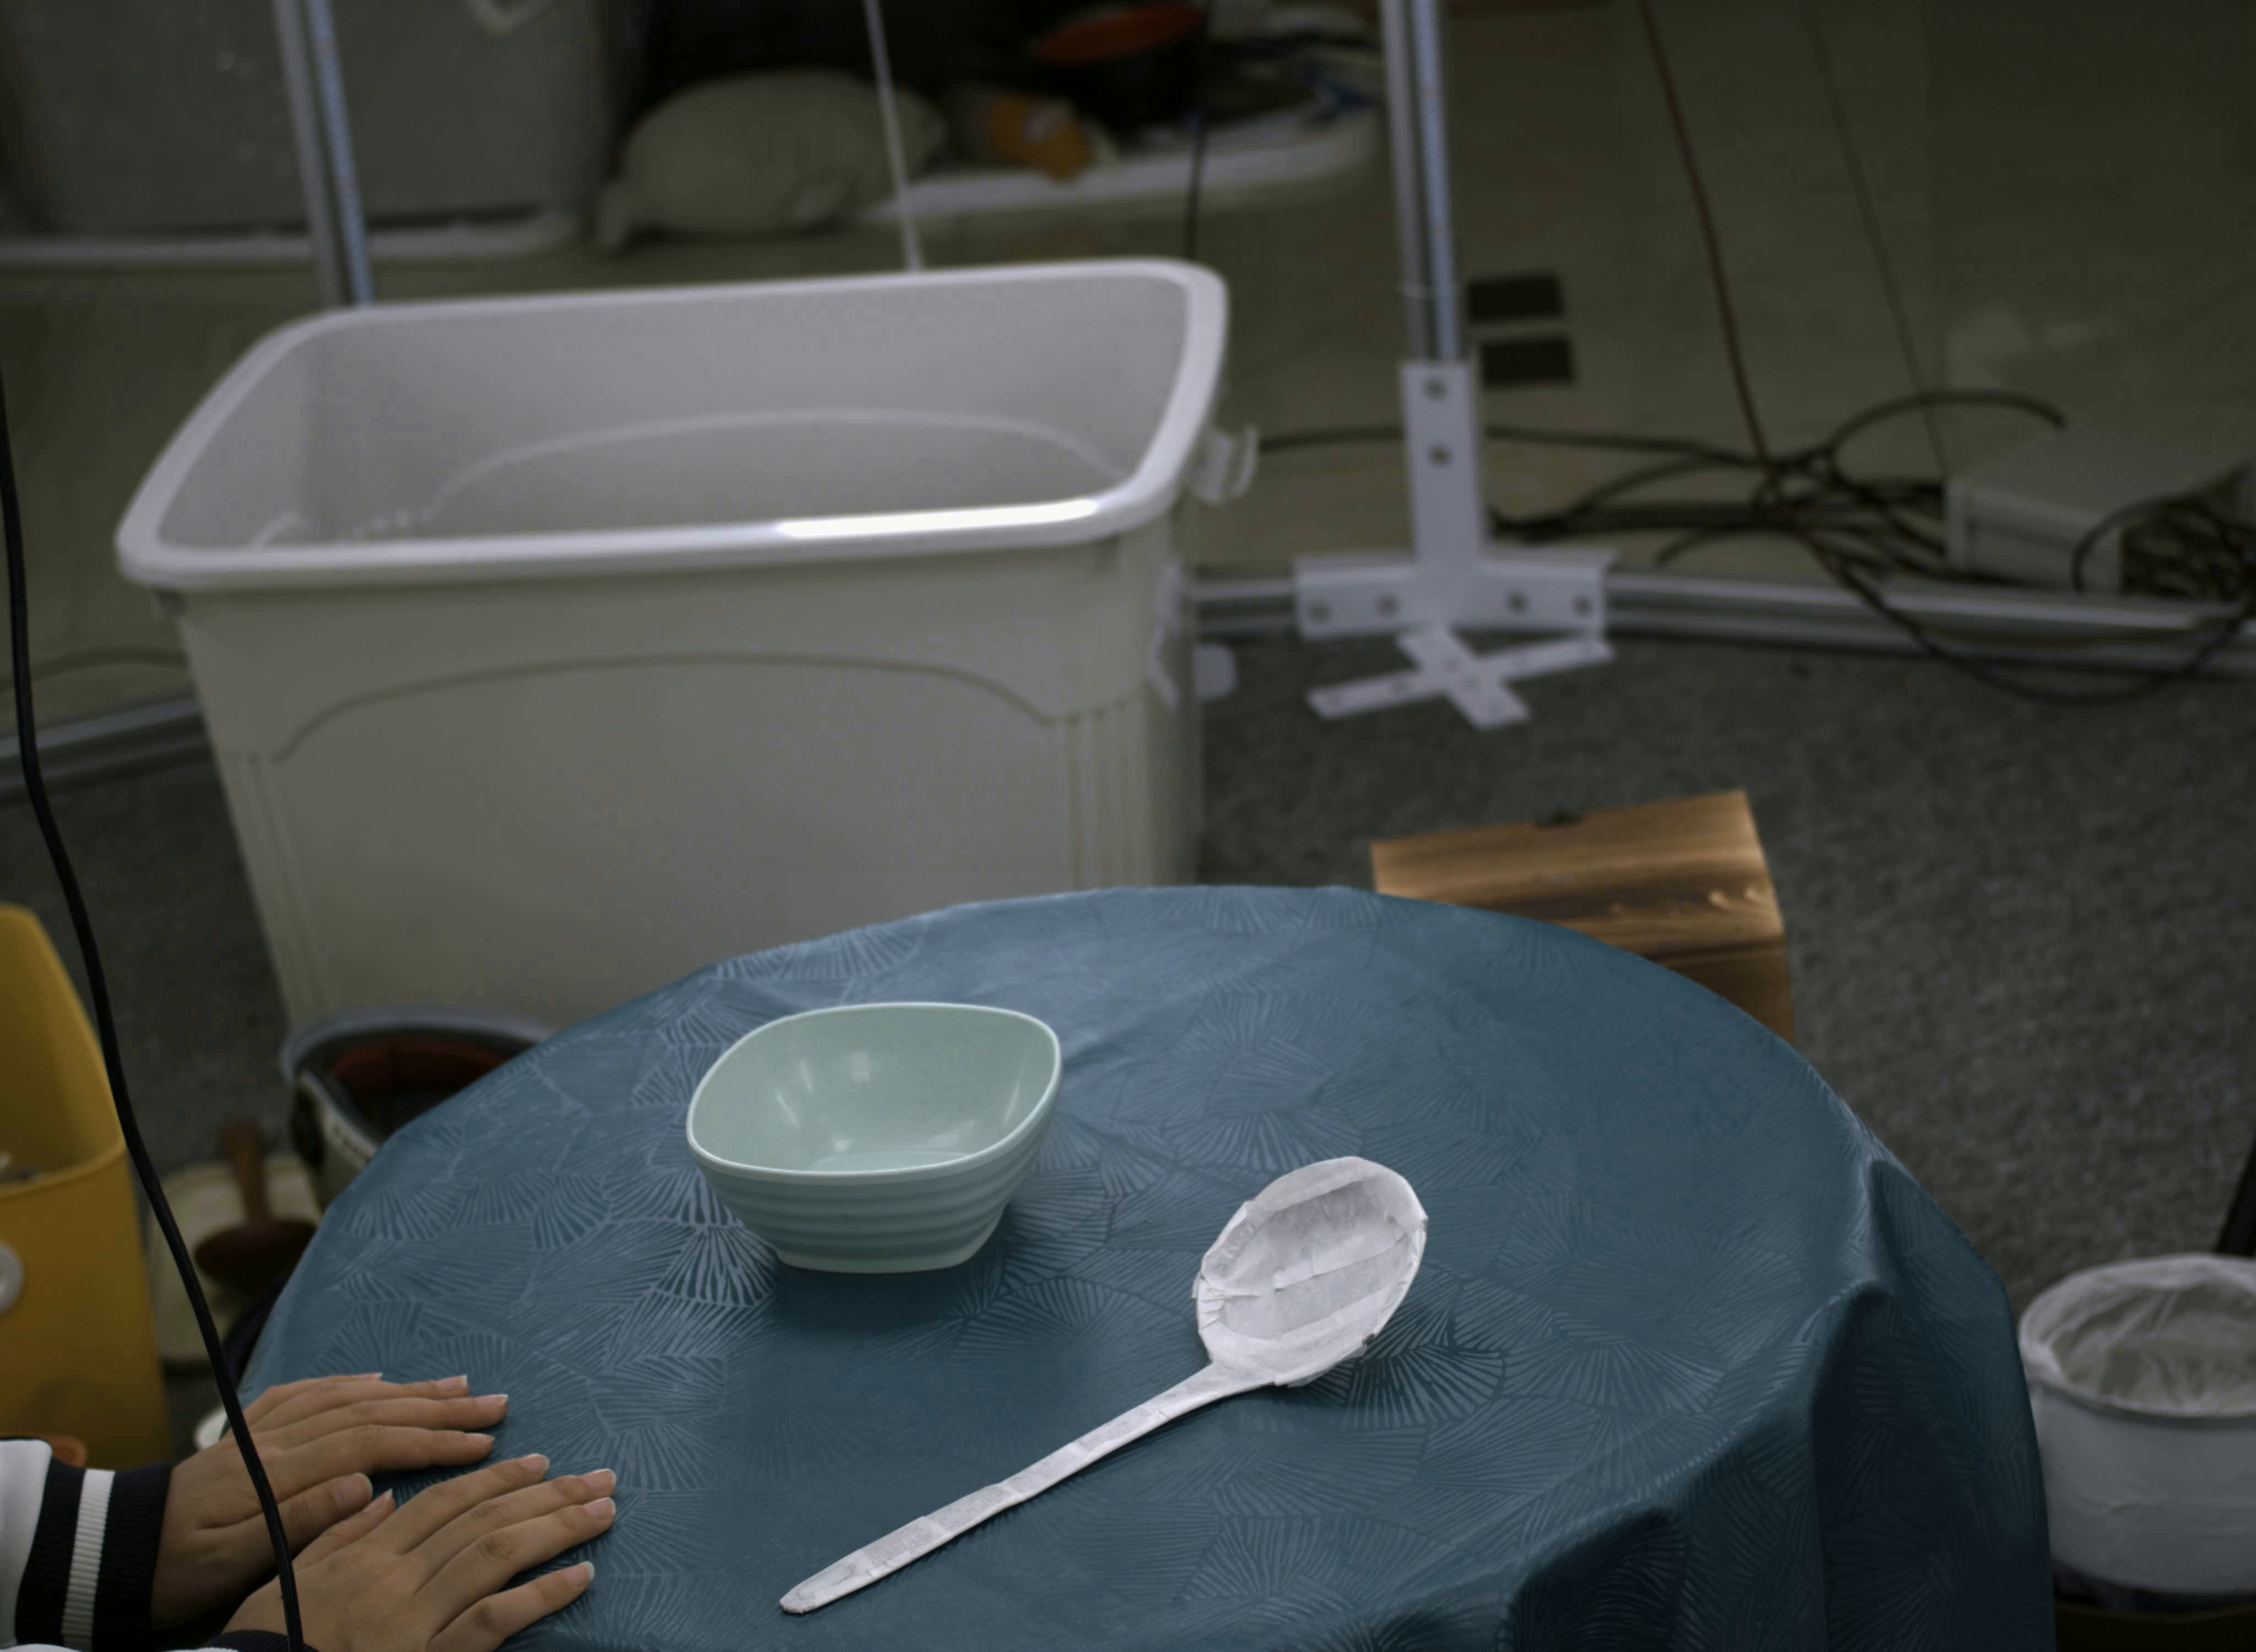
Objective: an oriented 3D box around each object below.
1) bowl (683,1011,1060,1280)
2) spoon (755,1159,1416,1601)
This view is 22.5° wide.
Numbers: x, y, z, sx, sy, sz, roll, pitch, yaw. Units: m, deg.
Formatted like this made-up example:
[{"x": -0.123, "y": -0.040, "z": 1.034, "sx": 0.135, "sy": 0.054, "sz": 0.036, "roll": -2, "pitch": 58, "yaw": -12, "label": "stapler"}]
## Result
[{"x": -0.093, "y": 0.126, "z": 2.136, "sx": 0.151, "sy": 0.059, "sz": 0.149, "roll": -5, "pitch": 25, "yaw": 2, "label": "bowl"}, {"x": -0.019, "y": 0.190, "z": 1.975, "sx": 0.275, "sy": 0.060, "sz": 0.100, "roll": -21, "pitch": 24, "yaw": -29, "label": "spoon"}]
